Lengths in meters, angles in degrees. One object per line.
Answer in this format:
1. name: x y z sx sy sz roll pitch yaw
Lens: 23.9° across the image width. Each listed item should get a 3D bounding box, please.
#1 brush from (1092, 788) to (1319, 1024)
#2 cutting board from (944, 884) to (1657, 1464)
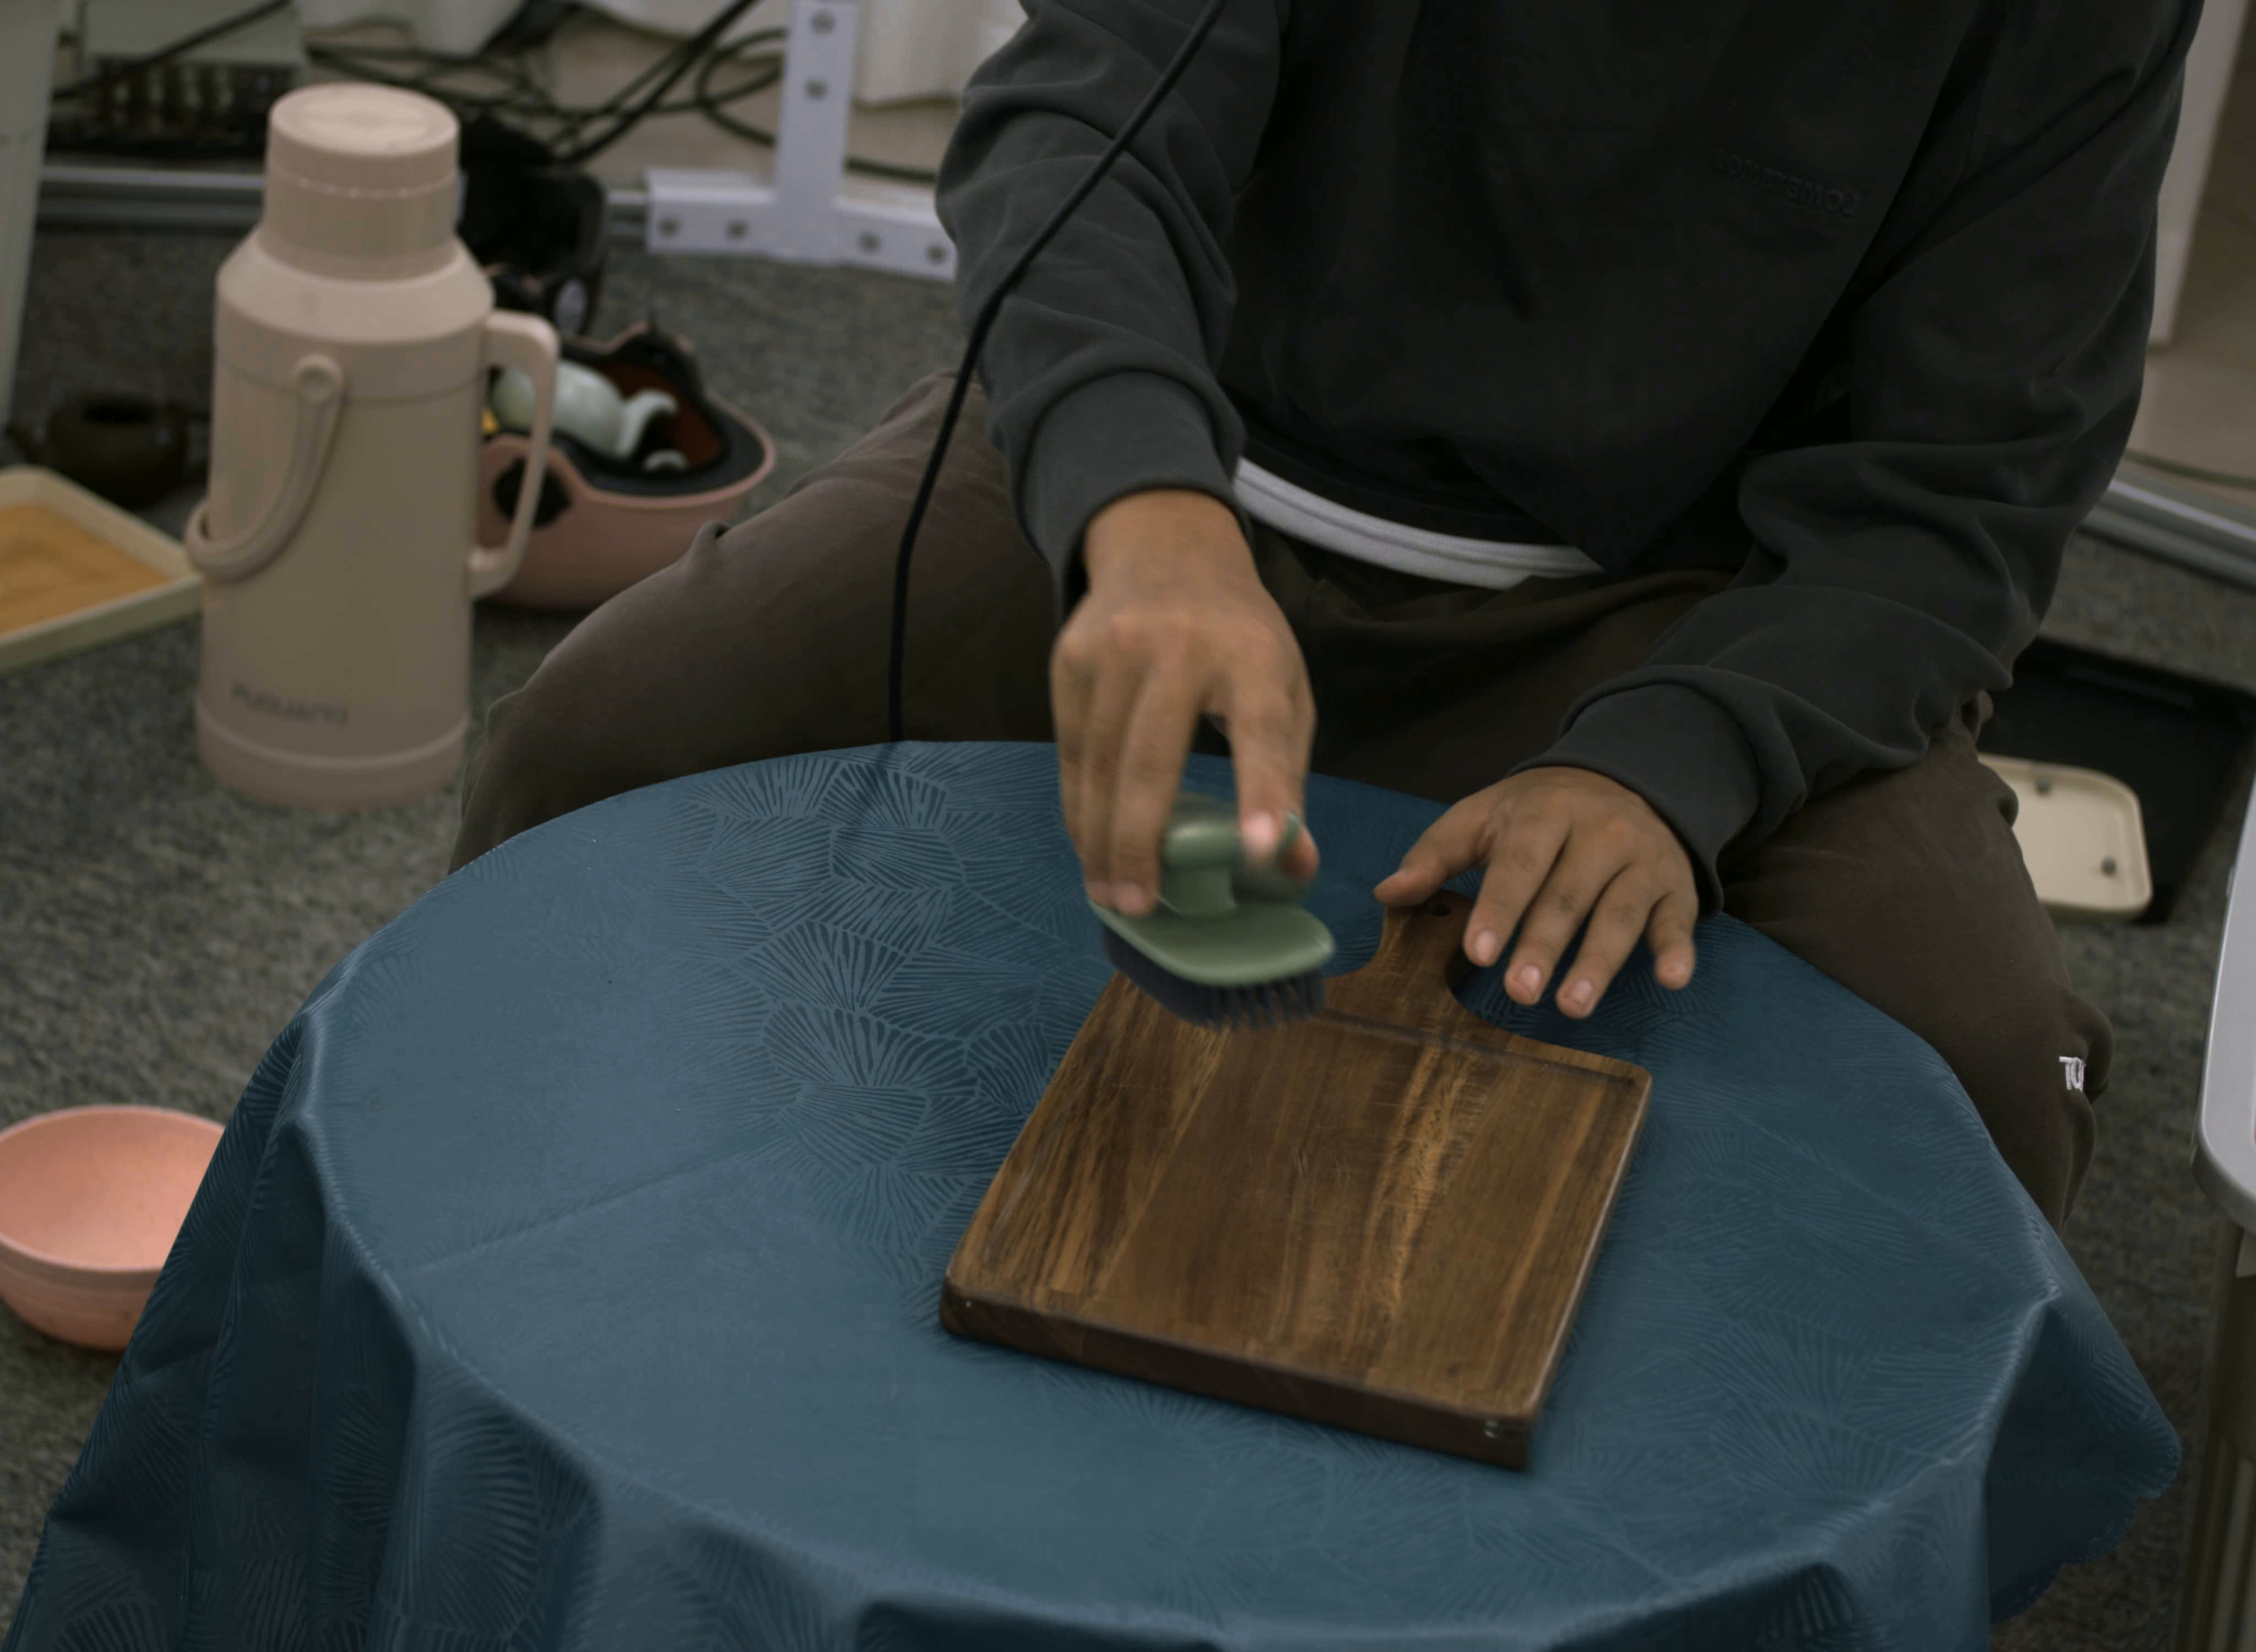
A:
1. brush: 0.026 0.024 1.783 0.059 0.076 0.123 -10 4 -16
2. cutting board: 0.076 0.103 1.842 0.201 0.023 0.353 13 27 11
